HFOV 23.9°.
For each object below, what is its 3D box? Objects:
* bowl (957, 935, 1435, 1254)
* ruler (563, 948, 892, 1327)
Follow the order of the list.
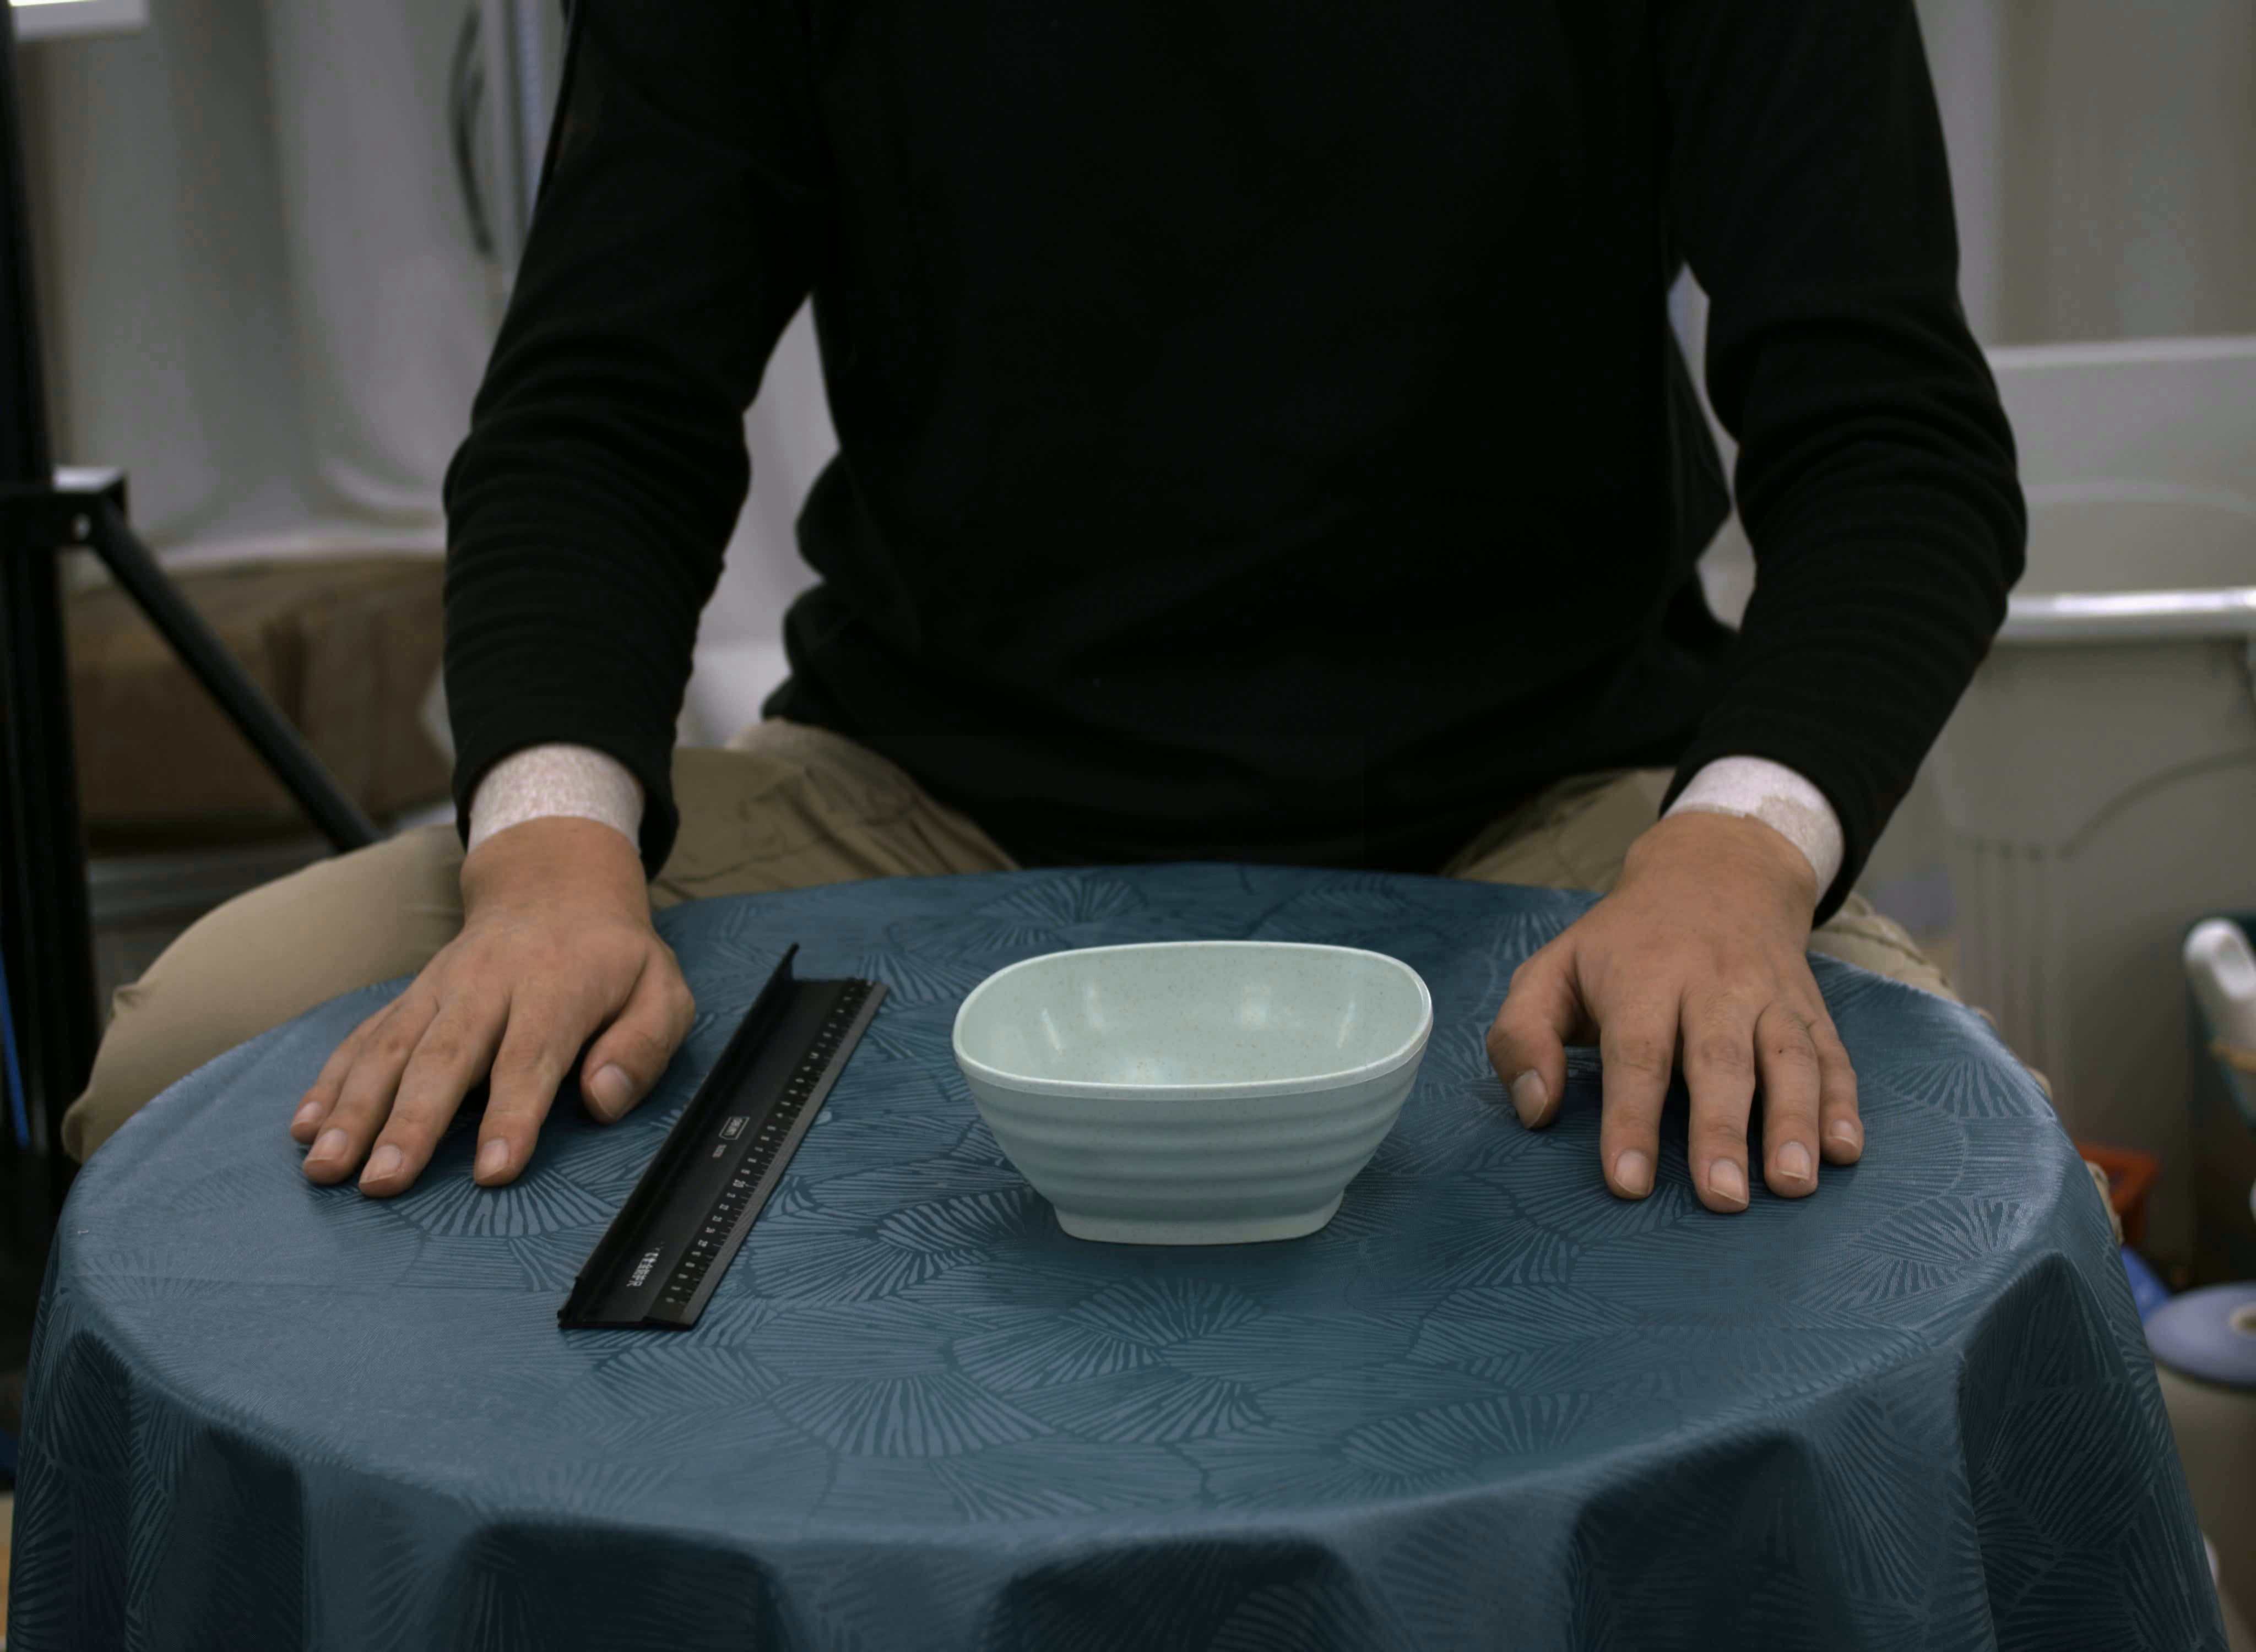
[{"bbox_3d":[0.021,0.082,1.545,0.151,0.058,0.152,-4,18,0],"label":"bowl"},{"bbox_3d":[-0.117,0.089,1.614,0.039,0.017,0.311,4,16,7],"label":"ruler"}]
